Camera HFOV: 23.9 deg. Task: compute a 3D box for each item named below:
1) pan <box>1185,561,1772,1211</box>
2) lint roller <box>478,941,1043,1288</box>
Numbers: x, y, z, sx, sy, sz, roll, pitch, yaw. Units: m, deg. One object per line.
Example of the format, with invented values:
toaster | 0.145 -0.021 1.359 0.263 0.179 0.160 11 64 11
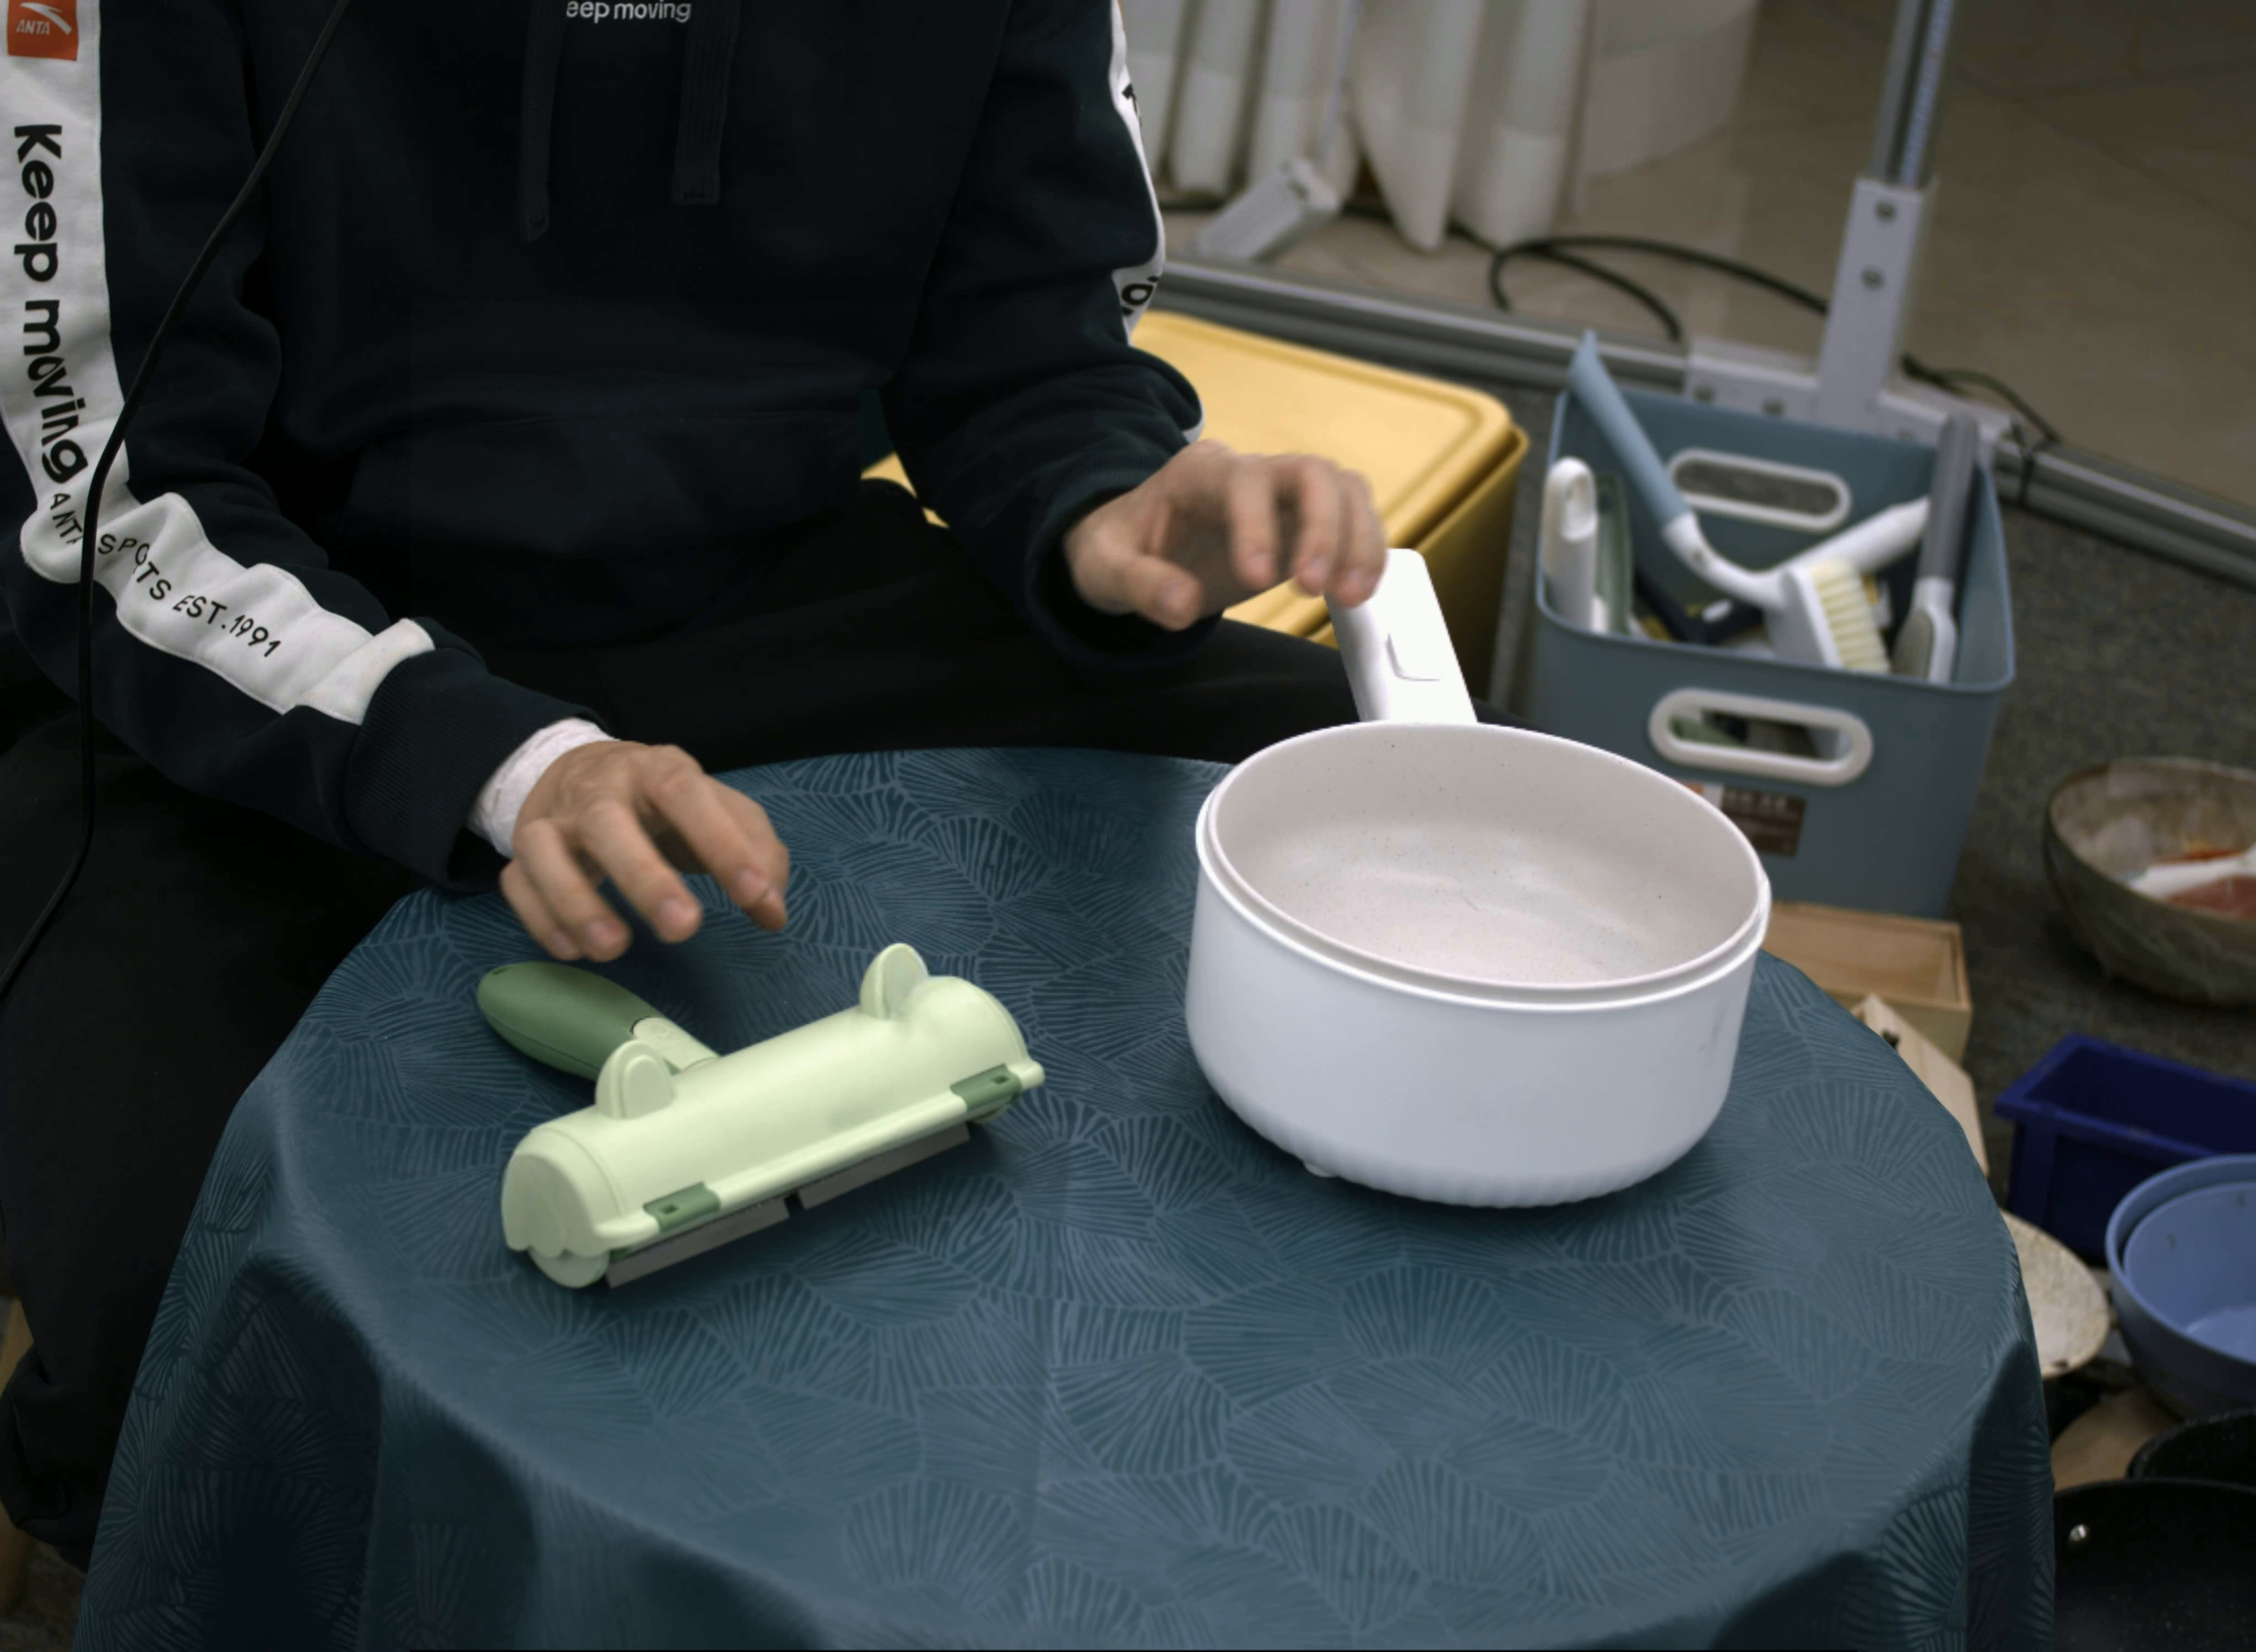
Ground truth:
pan | 0.111 0.019 1.924 0.200 0.102 0.357 2 26 -7
lint roller | -0.156 0.068 1.790 0.197 0.082 0.185 -20 42 -41
